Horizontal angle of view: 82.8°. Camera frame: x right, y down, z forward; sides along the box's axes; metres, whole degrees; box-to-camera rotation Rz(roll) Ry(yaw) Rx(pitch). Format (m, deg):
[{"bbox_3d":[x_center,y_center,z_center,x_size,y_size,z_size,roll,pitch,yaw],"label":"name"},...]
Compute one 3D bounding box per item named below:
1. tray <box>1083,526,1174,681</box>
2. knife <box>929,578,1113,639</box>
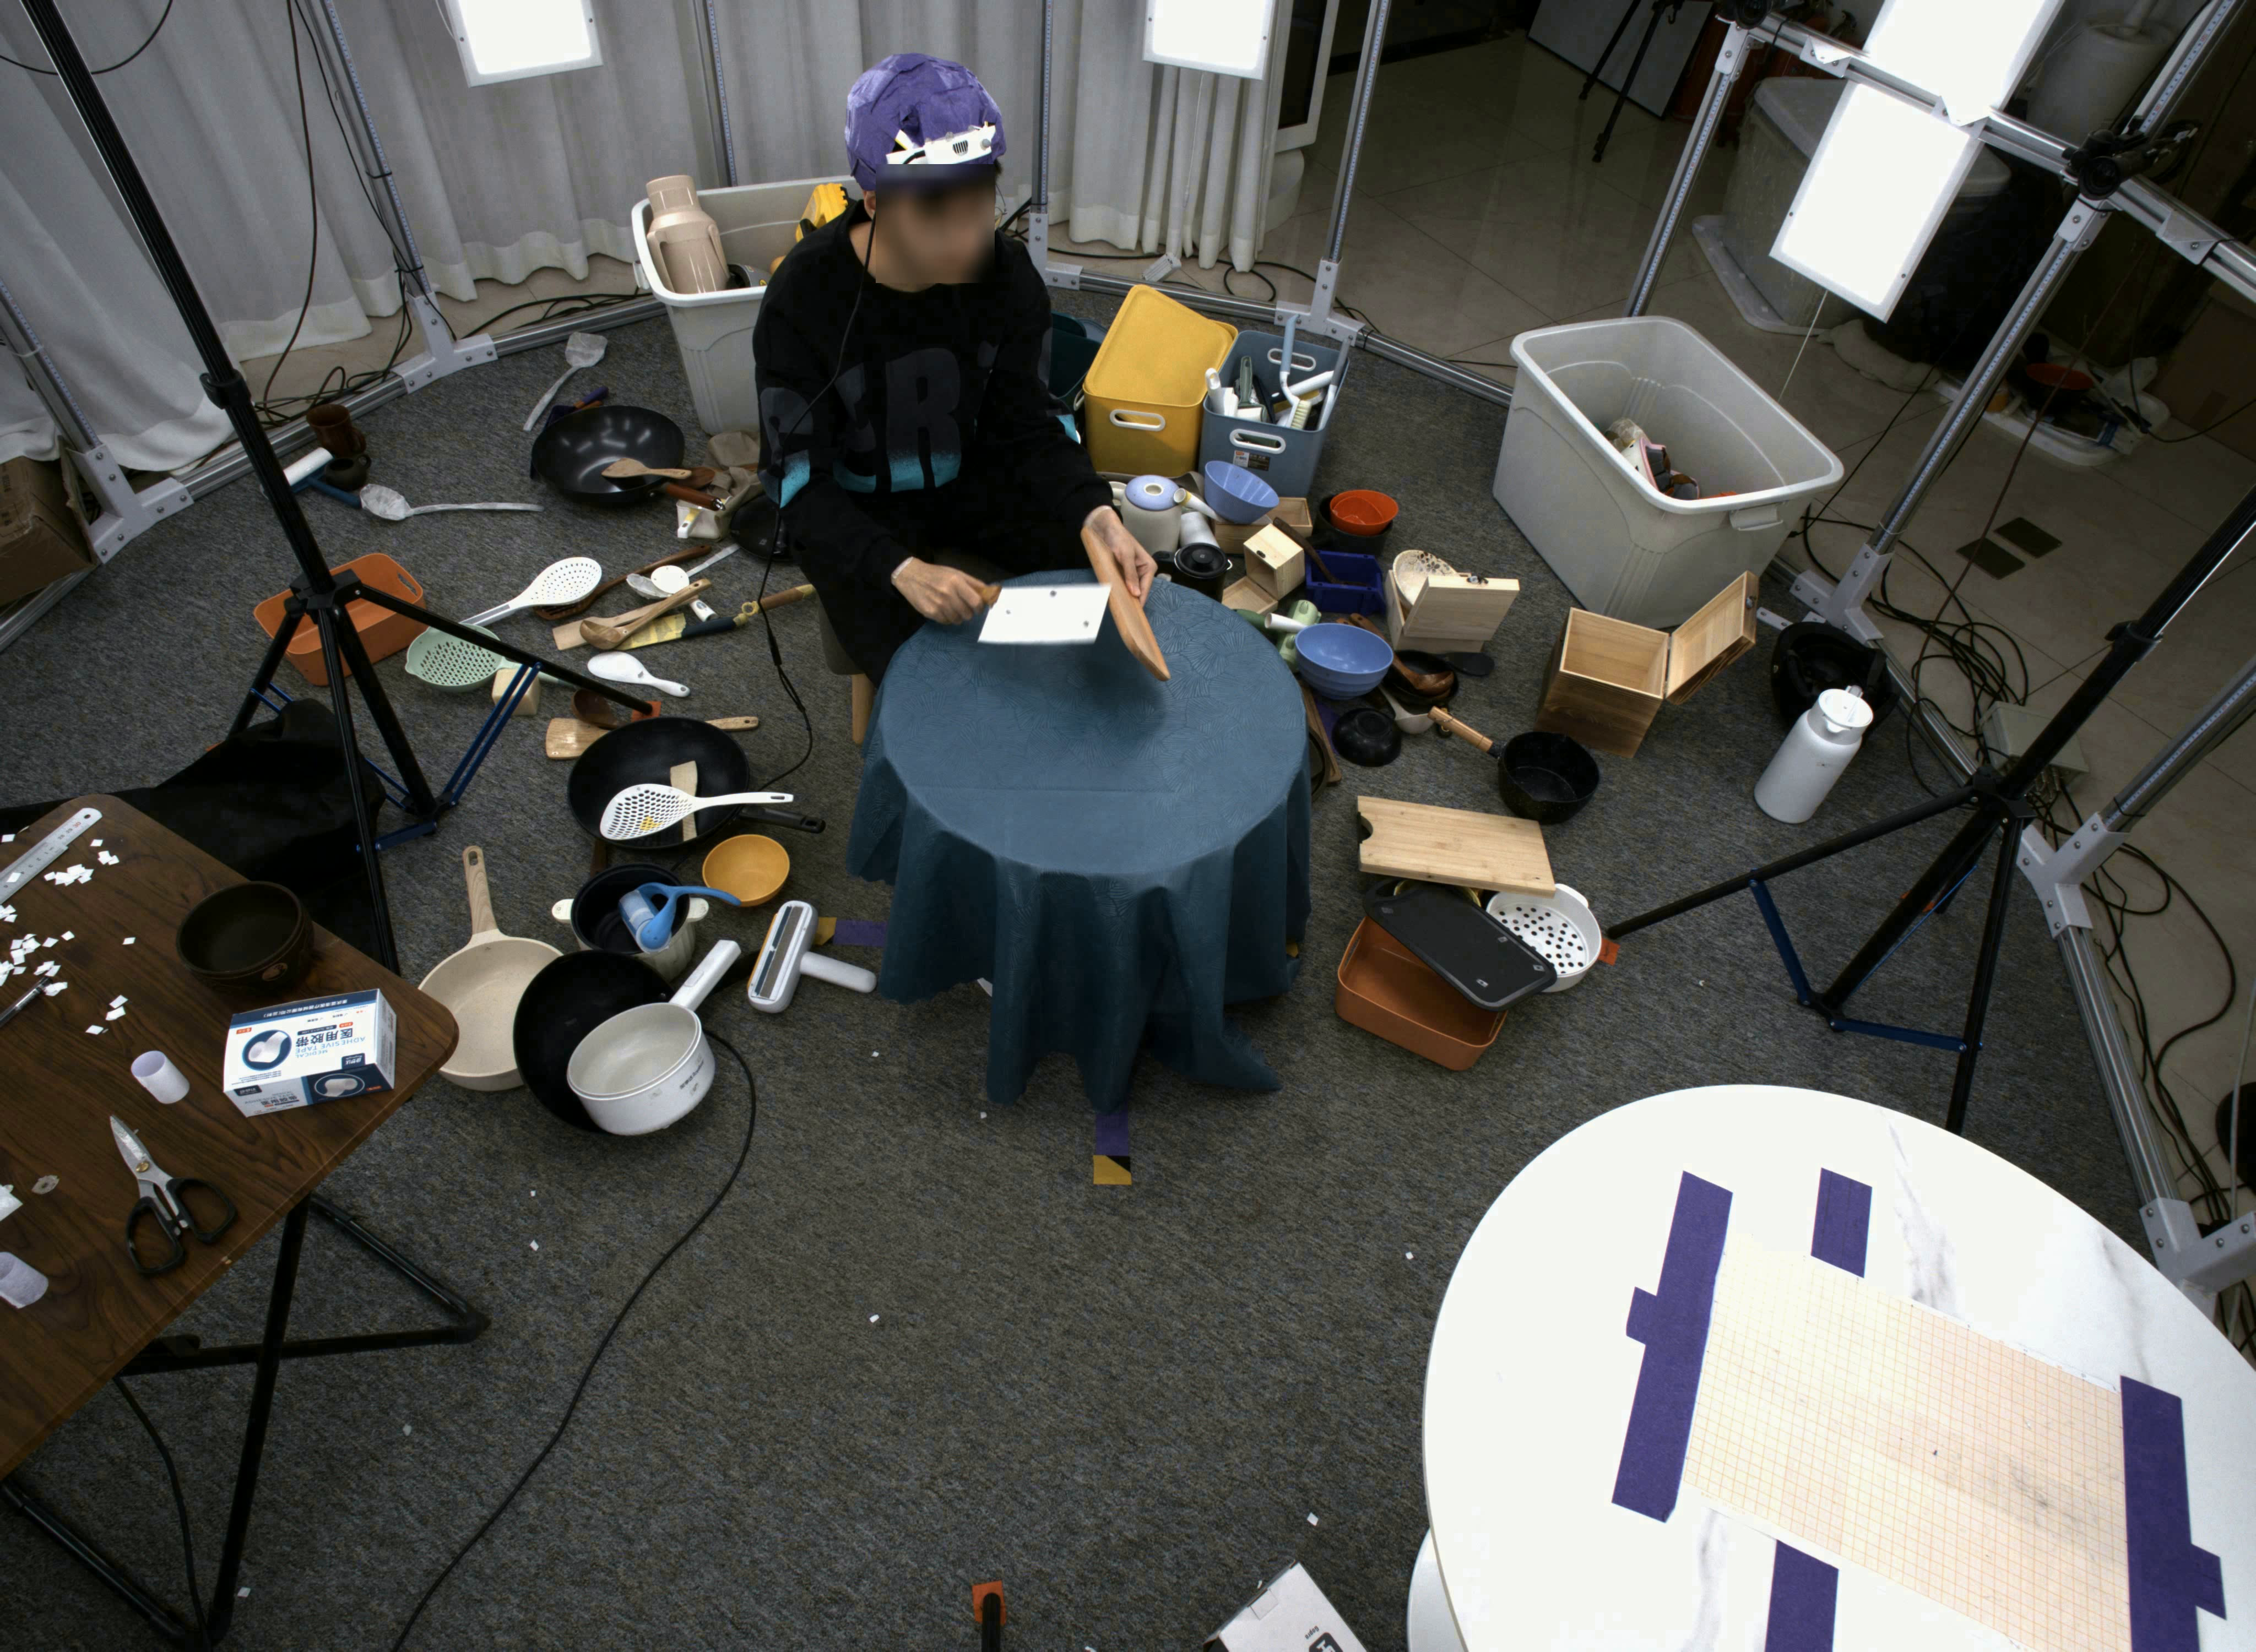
[{"bbox_3d":[-0.002,-0.315,1.821,0.023,0.128,0.257,-30,52,13],"label":"tray"},{"bbox_3d":[-0.160,-0.305,1.818,0.307,0.020,0.094,2,65,29],"label":"knife"}]
